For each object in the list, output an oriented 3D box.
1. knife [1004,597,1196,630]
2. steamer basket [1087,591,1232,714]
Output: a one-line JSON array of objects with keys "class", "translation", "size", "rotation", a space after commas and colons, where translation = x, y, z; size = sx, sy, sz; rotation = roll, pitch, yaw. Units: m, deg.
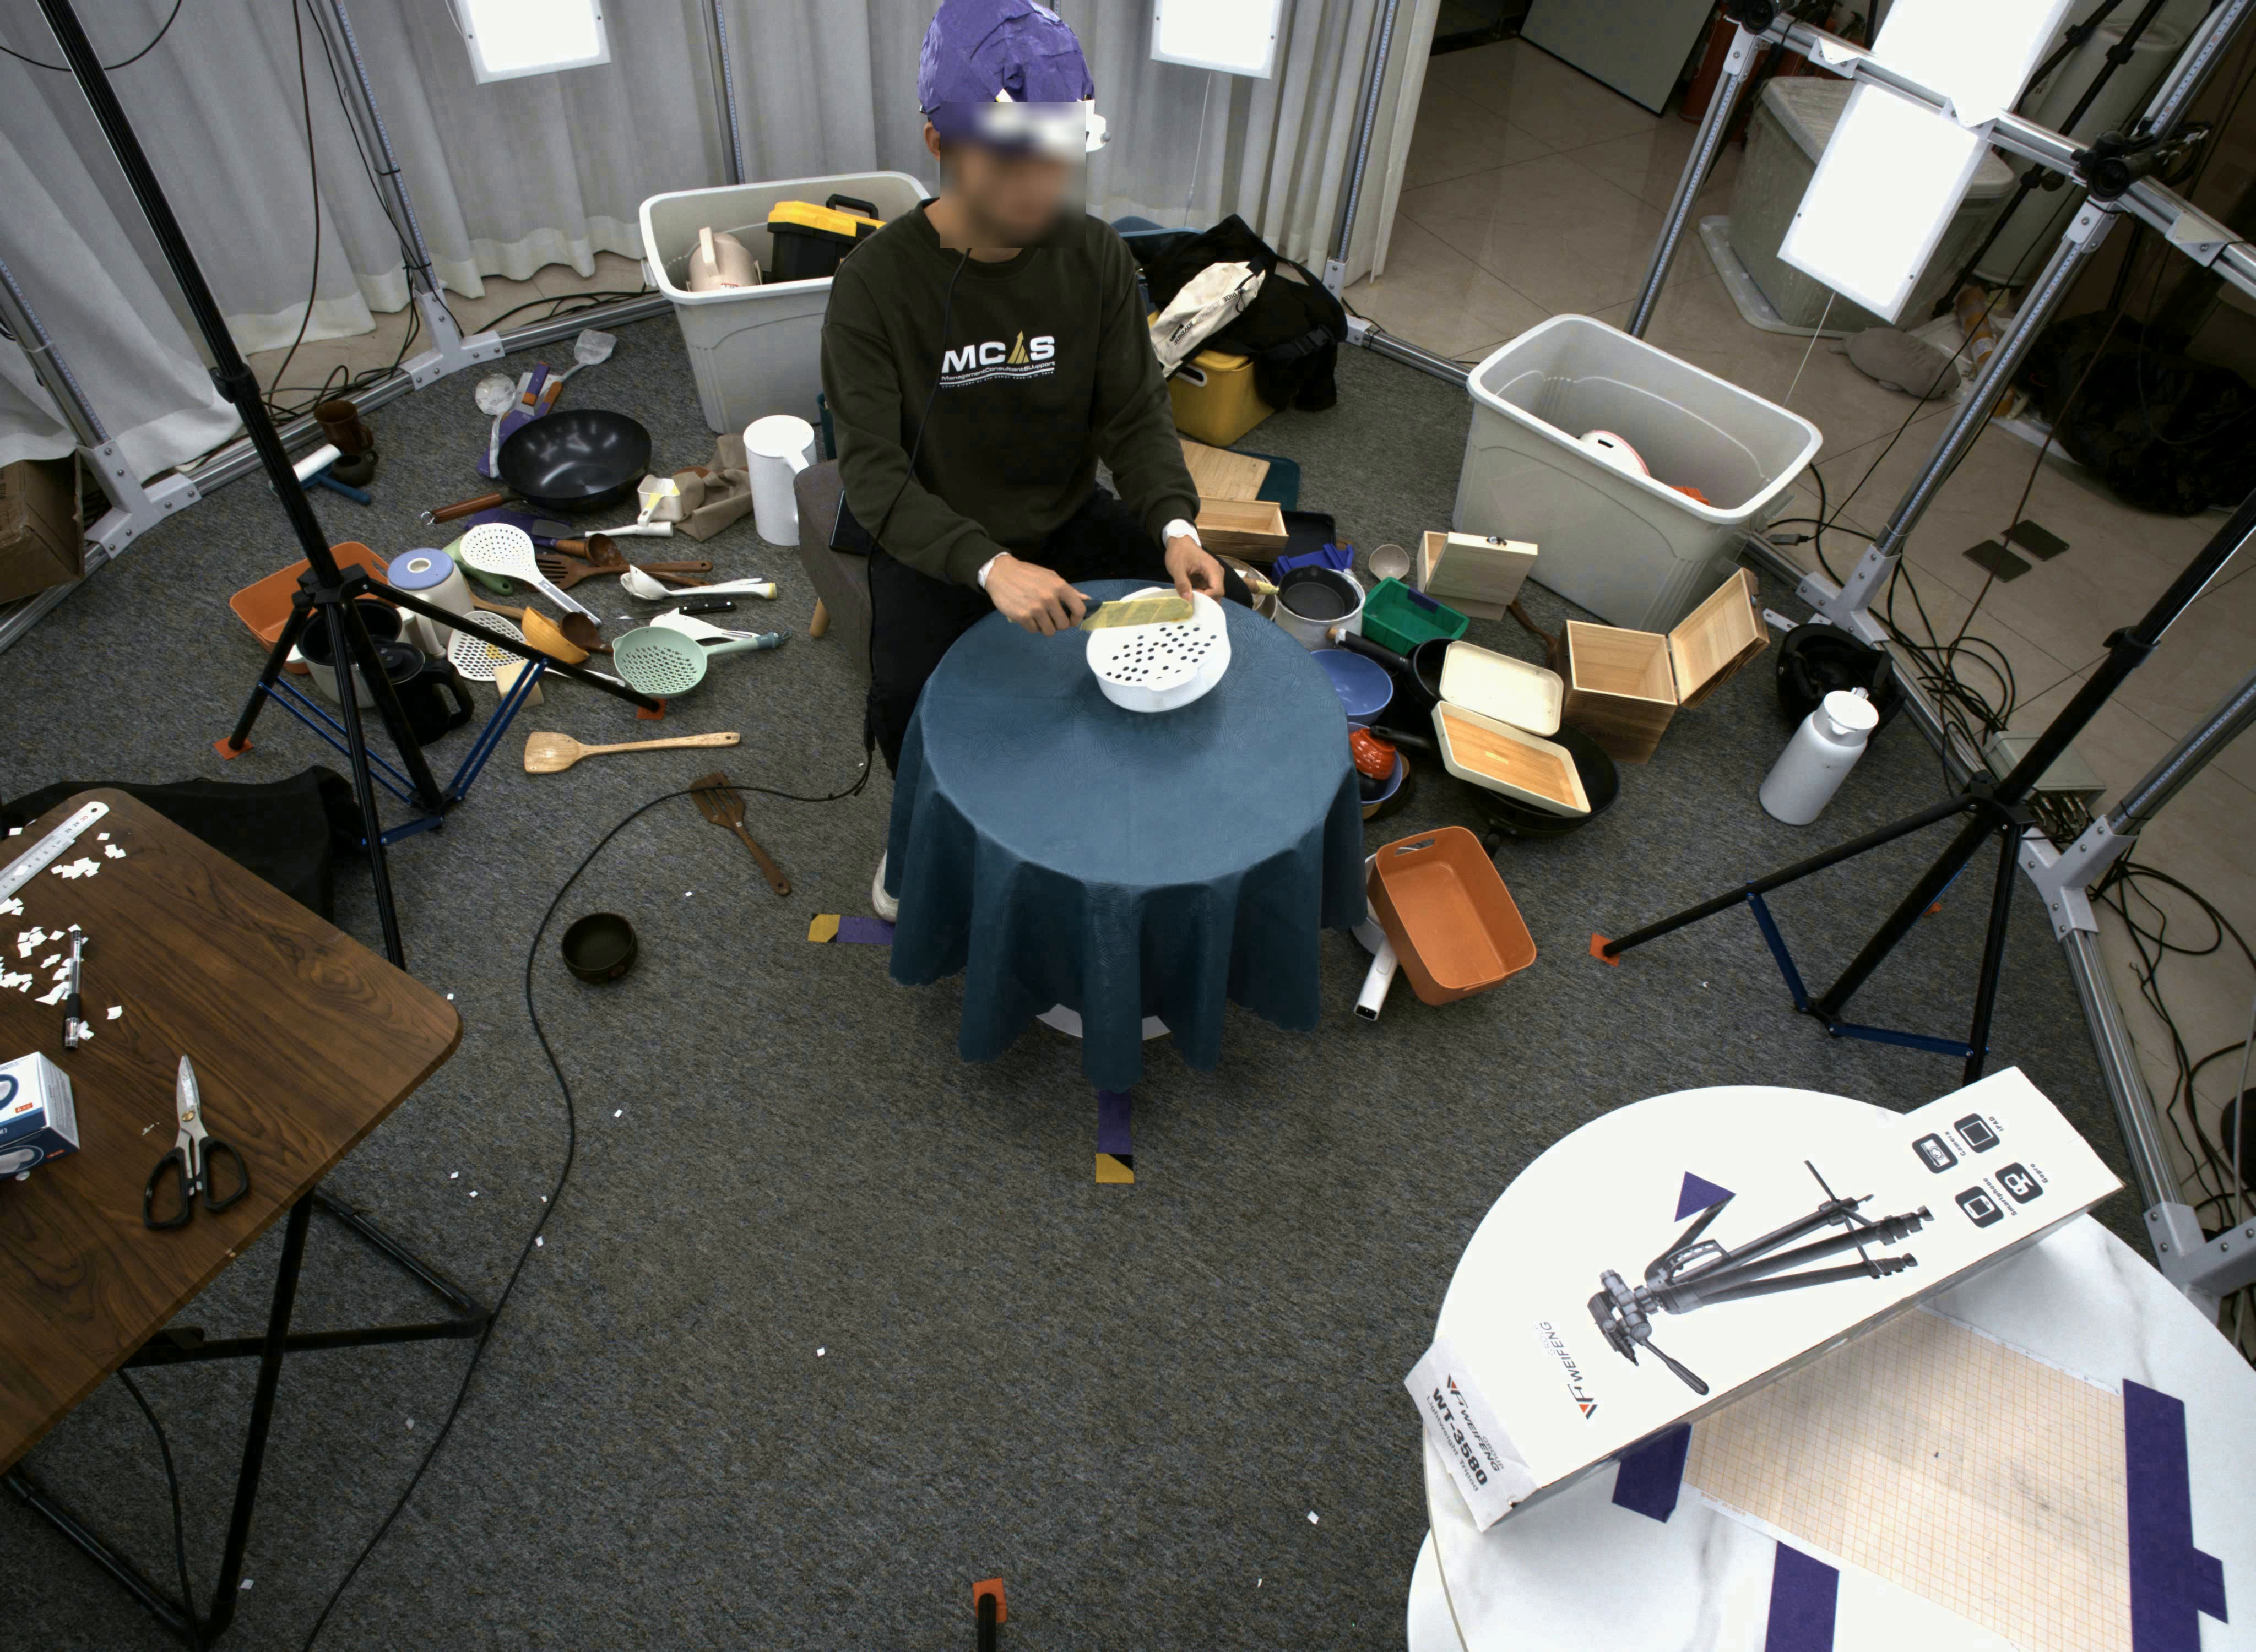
[{"class": "knife", "translation": [-0.037, -0.296, 1.791], "size": [0.289, 0.080, 0.028], "rotation": [-5, 68, -22]}, {"class": "steamer basket", "translation": [0.047, -0.243, 1.808], "size": [0.202, 0.067, 0.236], "rotation": [-18, 43, 2]}]
